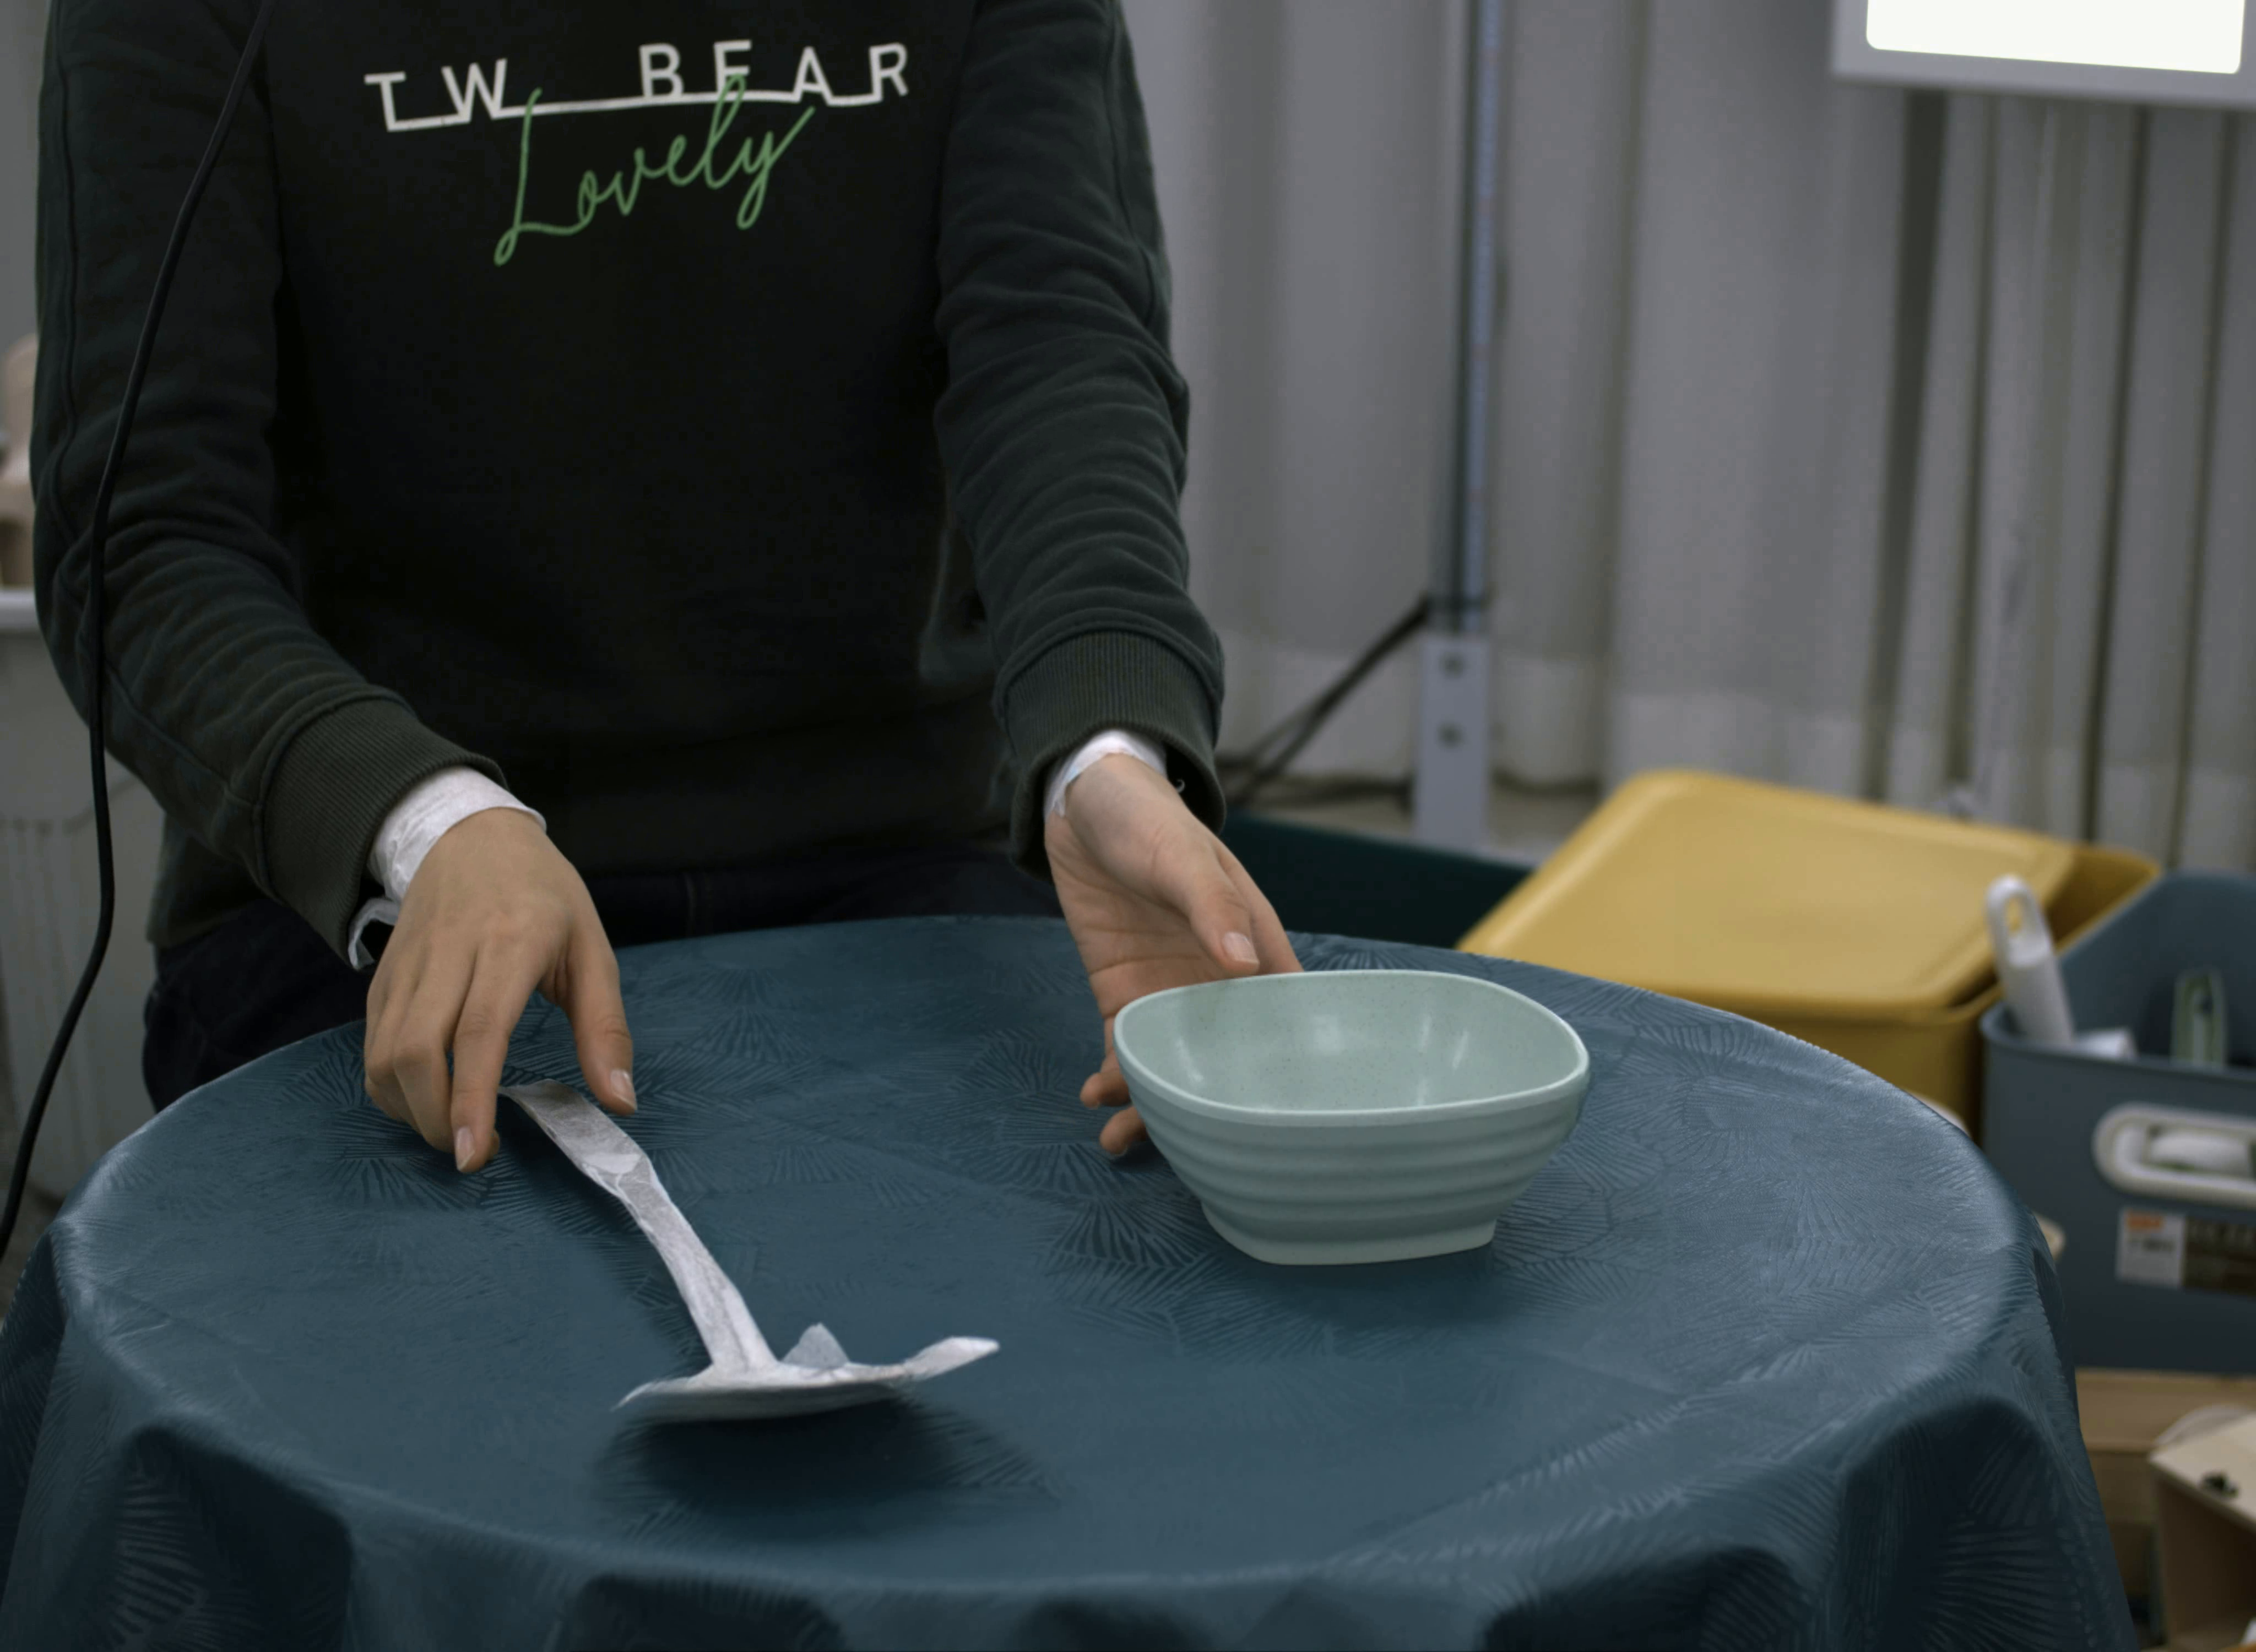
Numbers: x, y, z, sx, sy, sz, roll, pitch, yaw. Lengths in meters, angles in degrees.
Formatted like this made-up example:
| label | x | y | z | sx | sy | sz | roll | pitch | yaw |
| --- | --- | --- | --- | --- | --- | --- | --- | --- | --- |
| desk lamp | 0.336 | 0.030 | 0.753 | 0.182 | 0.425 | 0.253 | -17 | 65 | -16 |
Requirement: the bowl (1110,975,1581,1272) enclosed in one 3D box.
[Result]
| label | x | y | z | sx | sy | sz | roll | pitch | yaw |
| --- | --- | --- | --- | --- | --- | --- | --- | --- | --- |
| bowl | 0.064 | 0.094 | 1.598 | 0.151 | 0.059 | 0.150 | 3 | 16 | 0 |

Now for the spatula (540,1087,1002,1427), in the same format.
| label | x | y | z | sx | sy | sz | roll | pitch | yaw |
| --- | --- | --- | --- | --- | --- | --- | --- | --- | --- |
| spatula | -0.129 | 0.116 | 1.538 | 0.099 | 0.045 | 0.361 | -7 | 17 | -18 |
